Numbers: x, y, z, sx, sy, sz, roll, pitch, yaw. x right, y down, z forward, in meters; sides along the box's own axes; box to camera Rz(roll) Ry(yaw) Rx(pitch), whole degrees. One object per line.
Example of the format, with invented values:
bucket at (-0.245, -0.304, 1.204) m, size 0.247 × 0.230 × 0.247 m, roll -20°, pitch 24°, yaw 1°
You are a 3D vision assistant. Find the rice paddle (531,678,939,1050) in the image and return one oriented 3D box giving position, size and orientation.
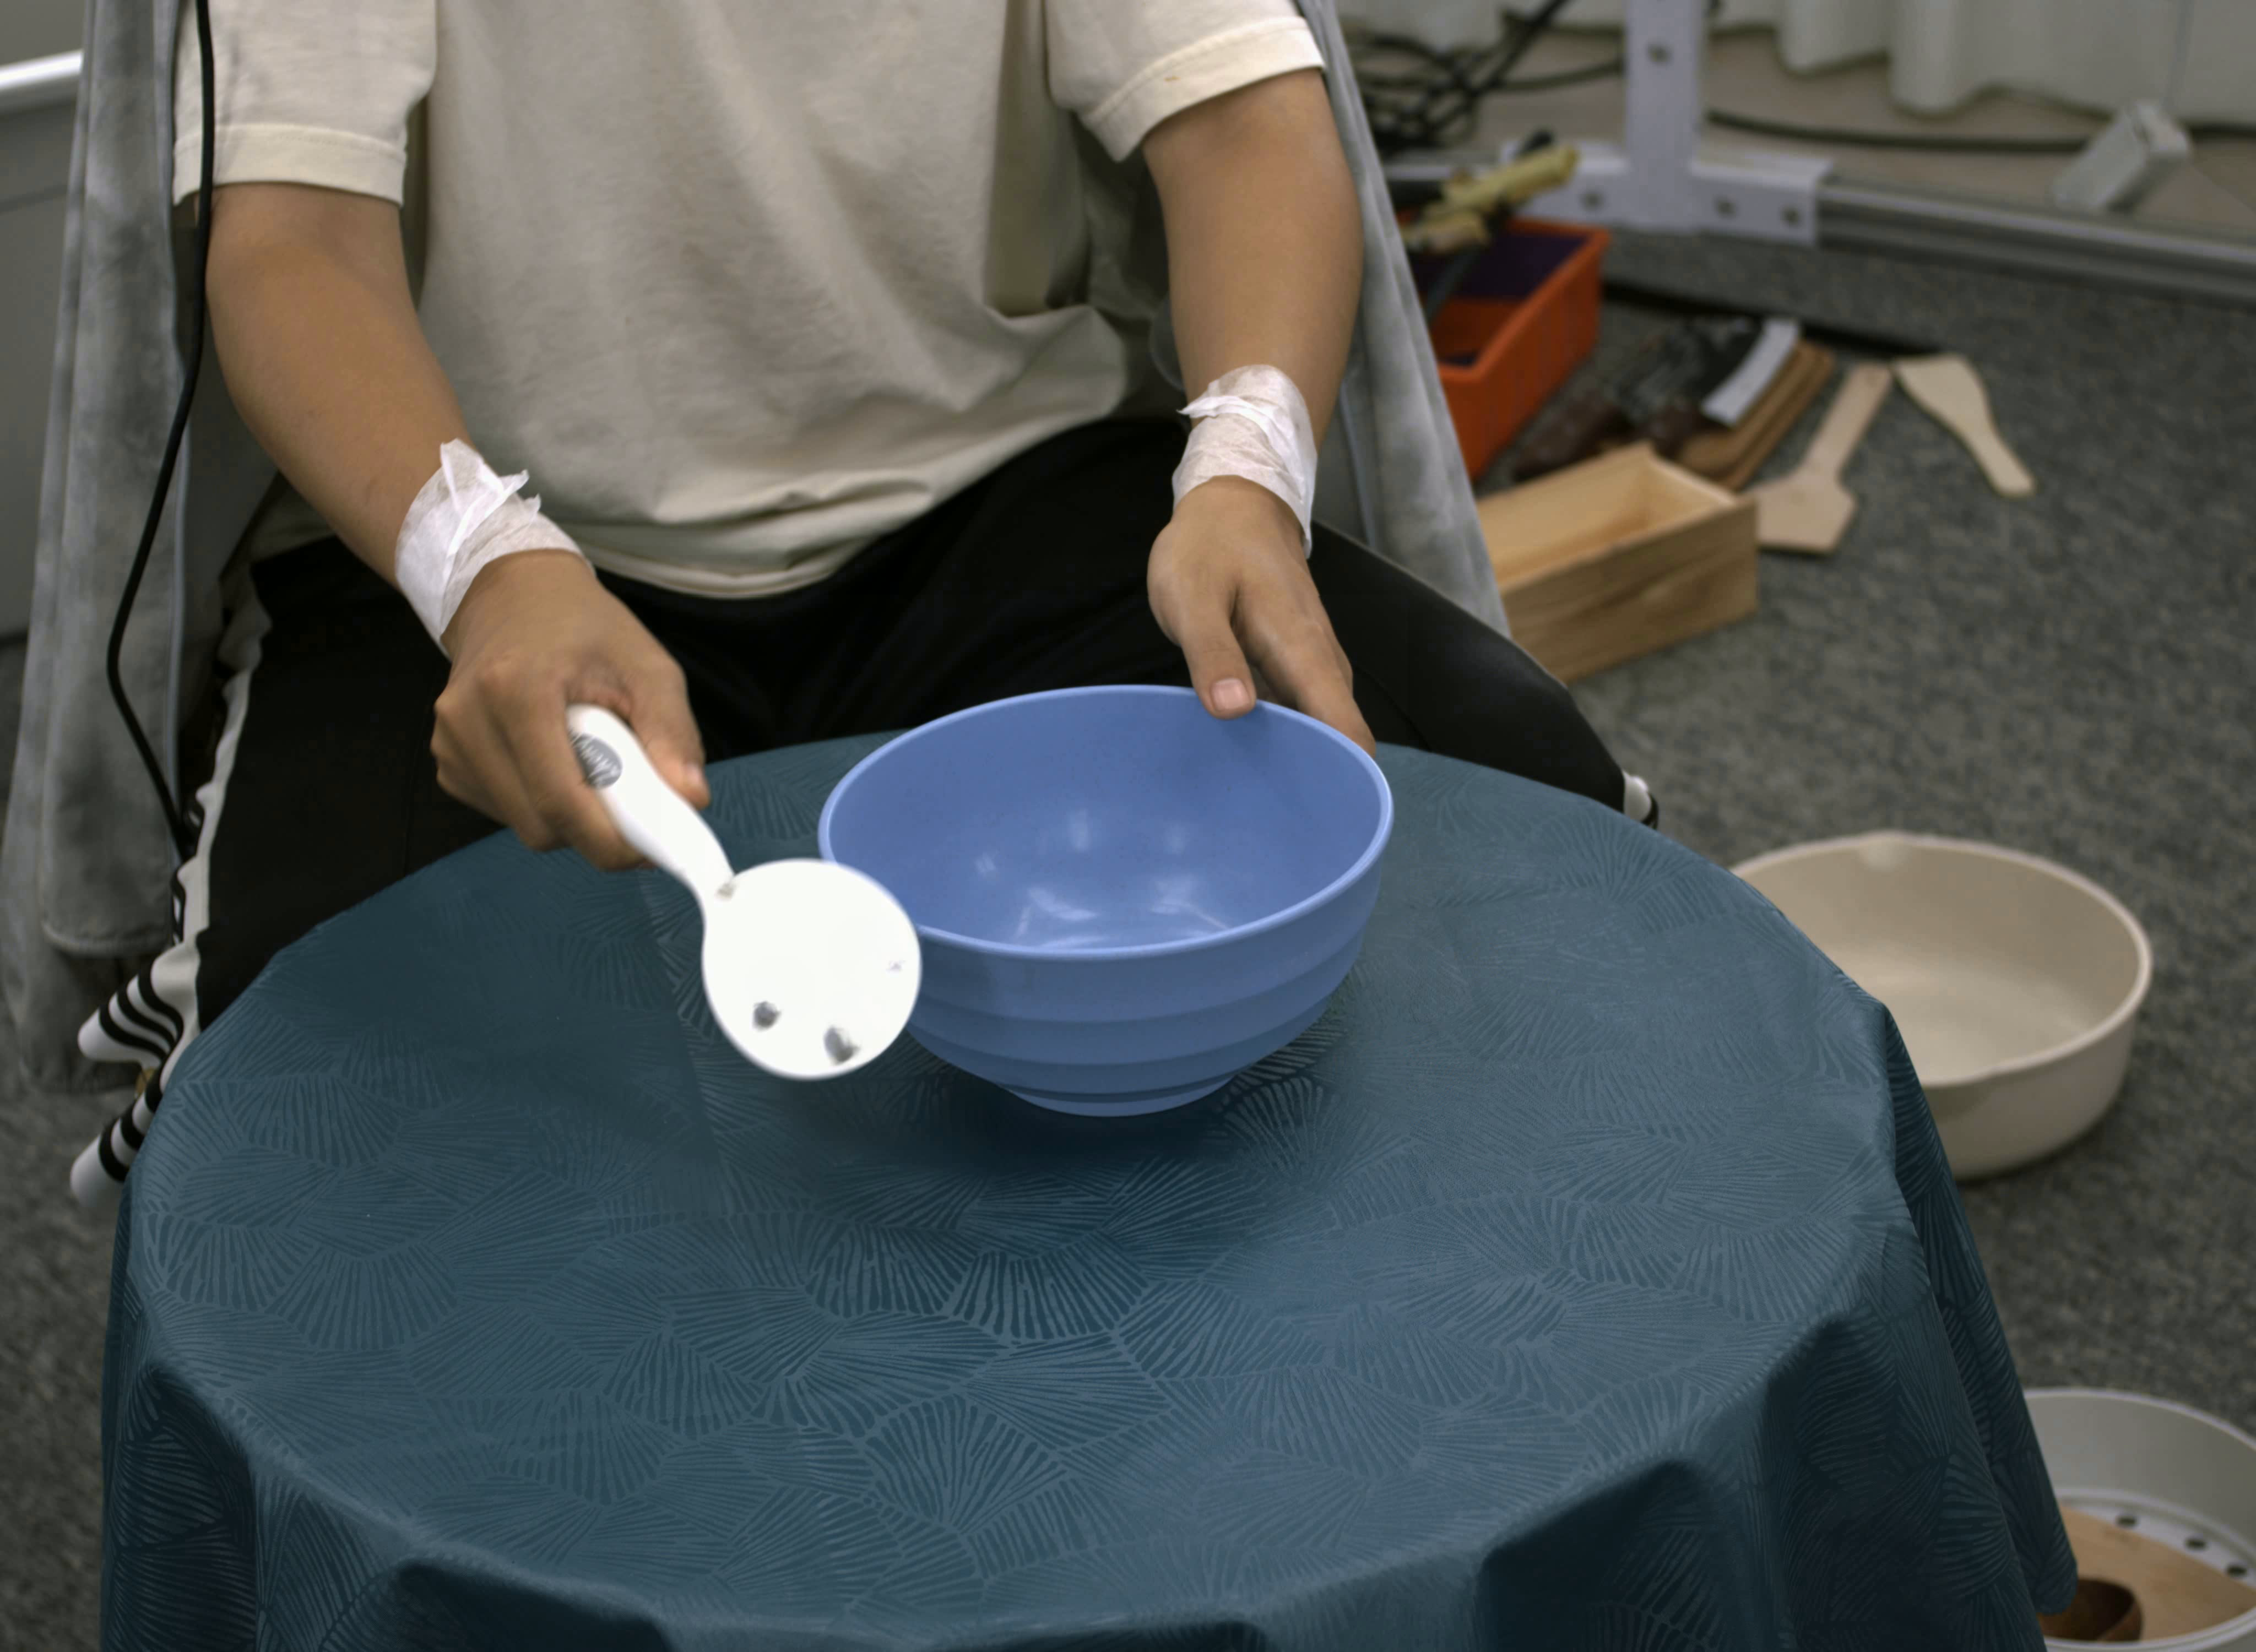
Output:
rice paddle at (-0.131, 0.010, 1.856) m, size 0.069 × 0.029 × 0.206 m, roll -48°, pitch 49°, yaw -4°

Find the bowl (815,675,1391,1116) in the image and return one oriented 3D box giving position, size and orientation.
bowl at (-0.006, 0.035, 1.923) m, size 0.195 × 0.094 × 0.199 m, roll -3°, pitch 29°, yaw 2°
